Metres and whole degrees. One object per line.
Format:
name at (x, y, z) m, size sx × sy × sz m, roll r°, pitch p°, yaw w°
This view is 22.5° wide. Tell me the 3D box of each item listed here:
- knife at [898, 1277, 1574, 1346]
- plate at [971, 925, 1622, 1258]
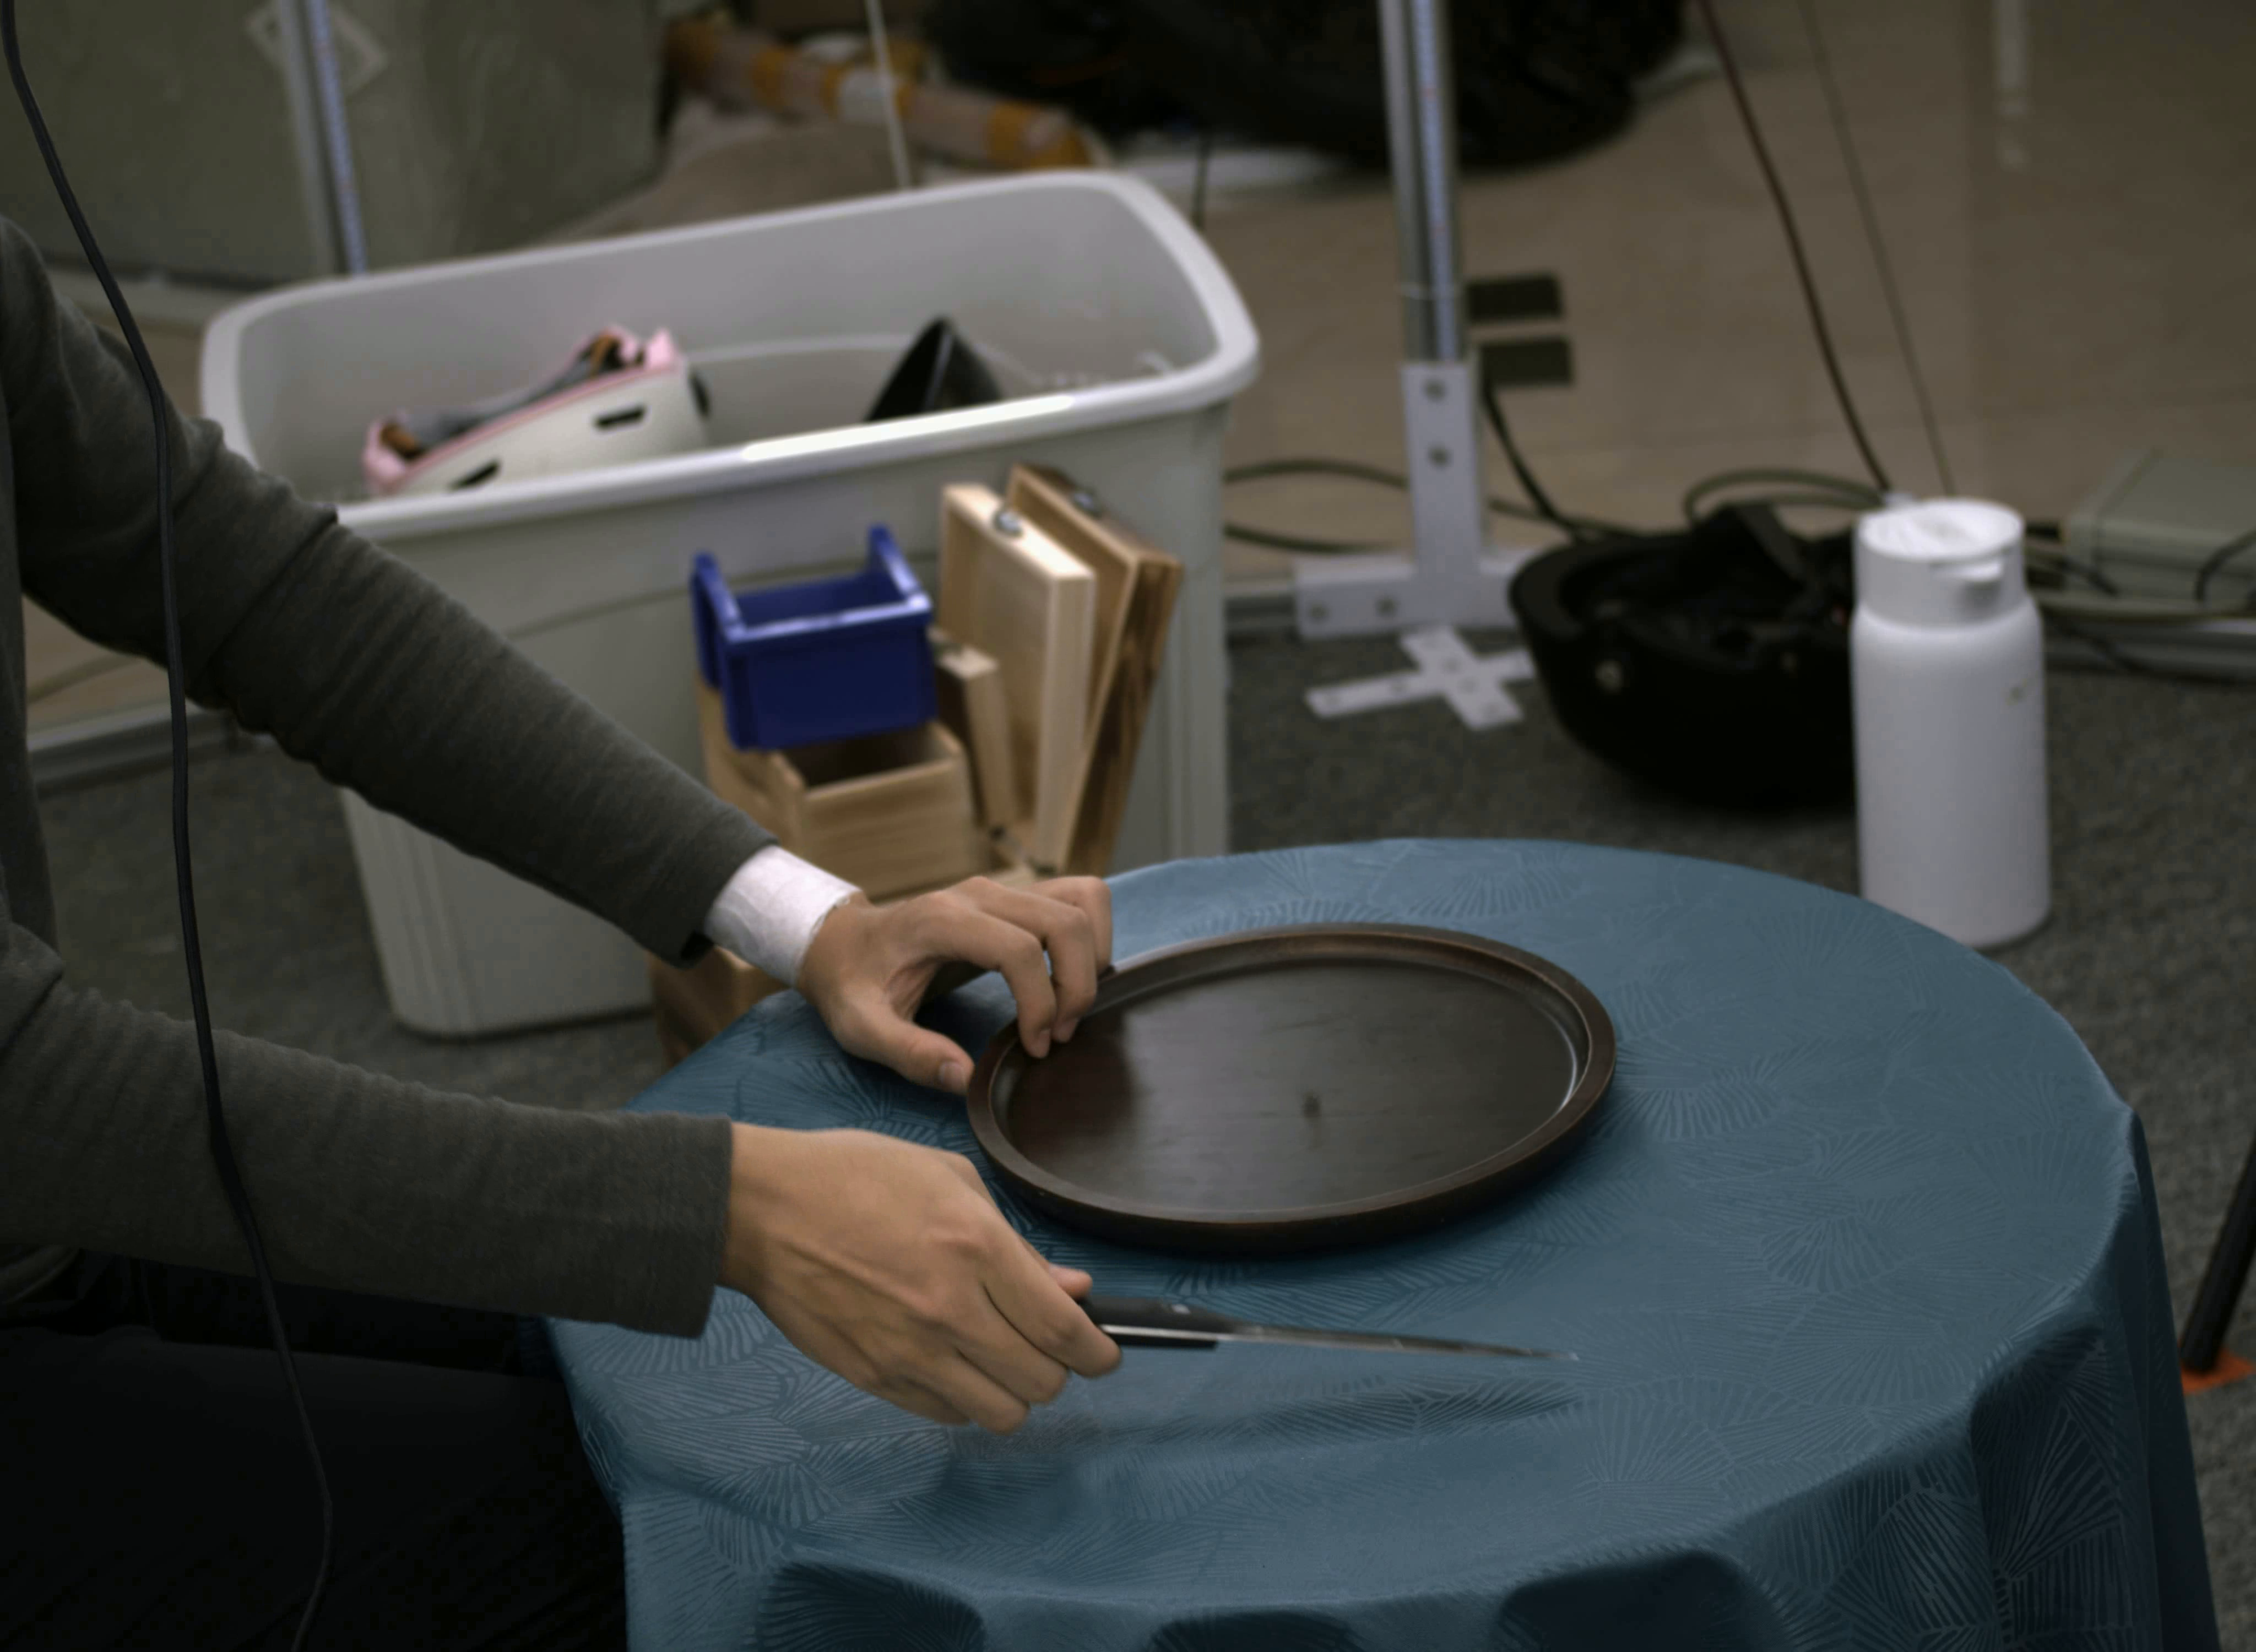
knife at (0.037, 0.173, 1.985) m, size 0.238 × 0.016 × 0.024 m, roll 4°, pitch 11°, yaw 3°
plate at (0.065, 0.101, 2.191) m, size 0.254 × 0.029 × 0.251 m, roll -4°, pitch 24°, yaw 2°
